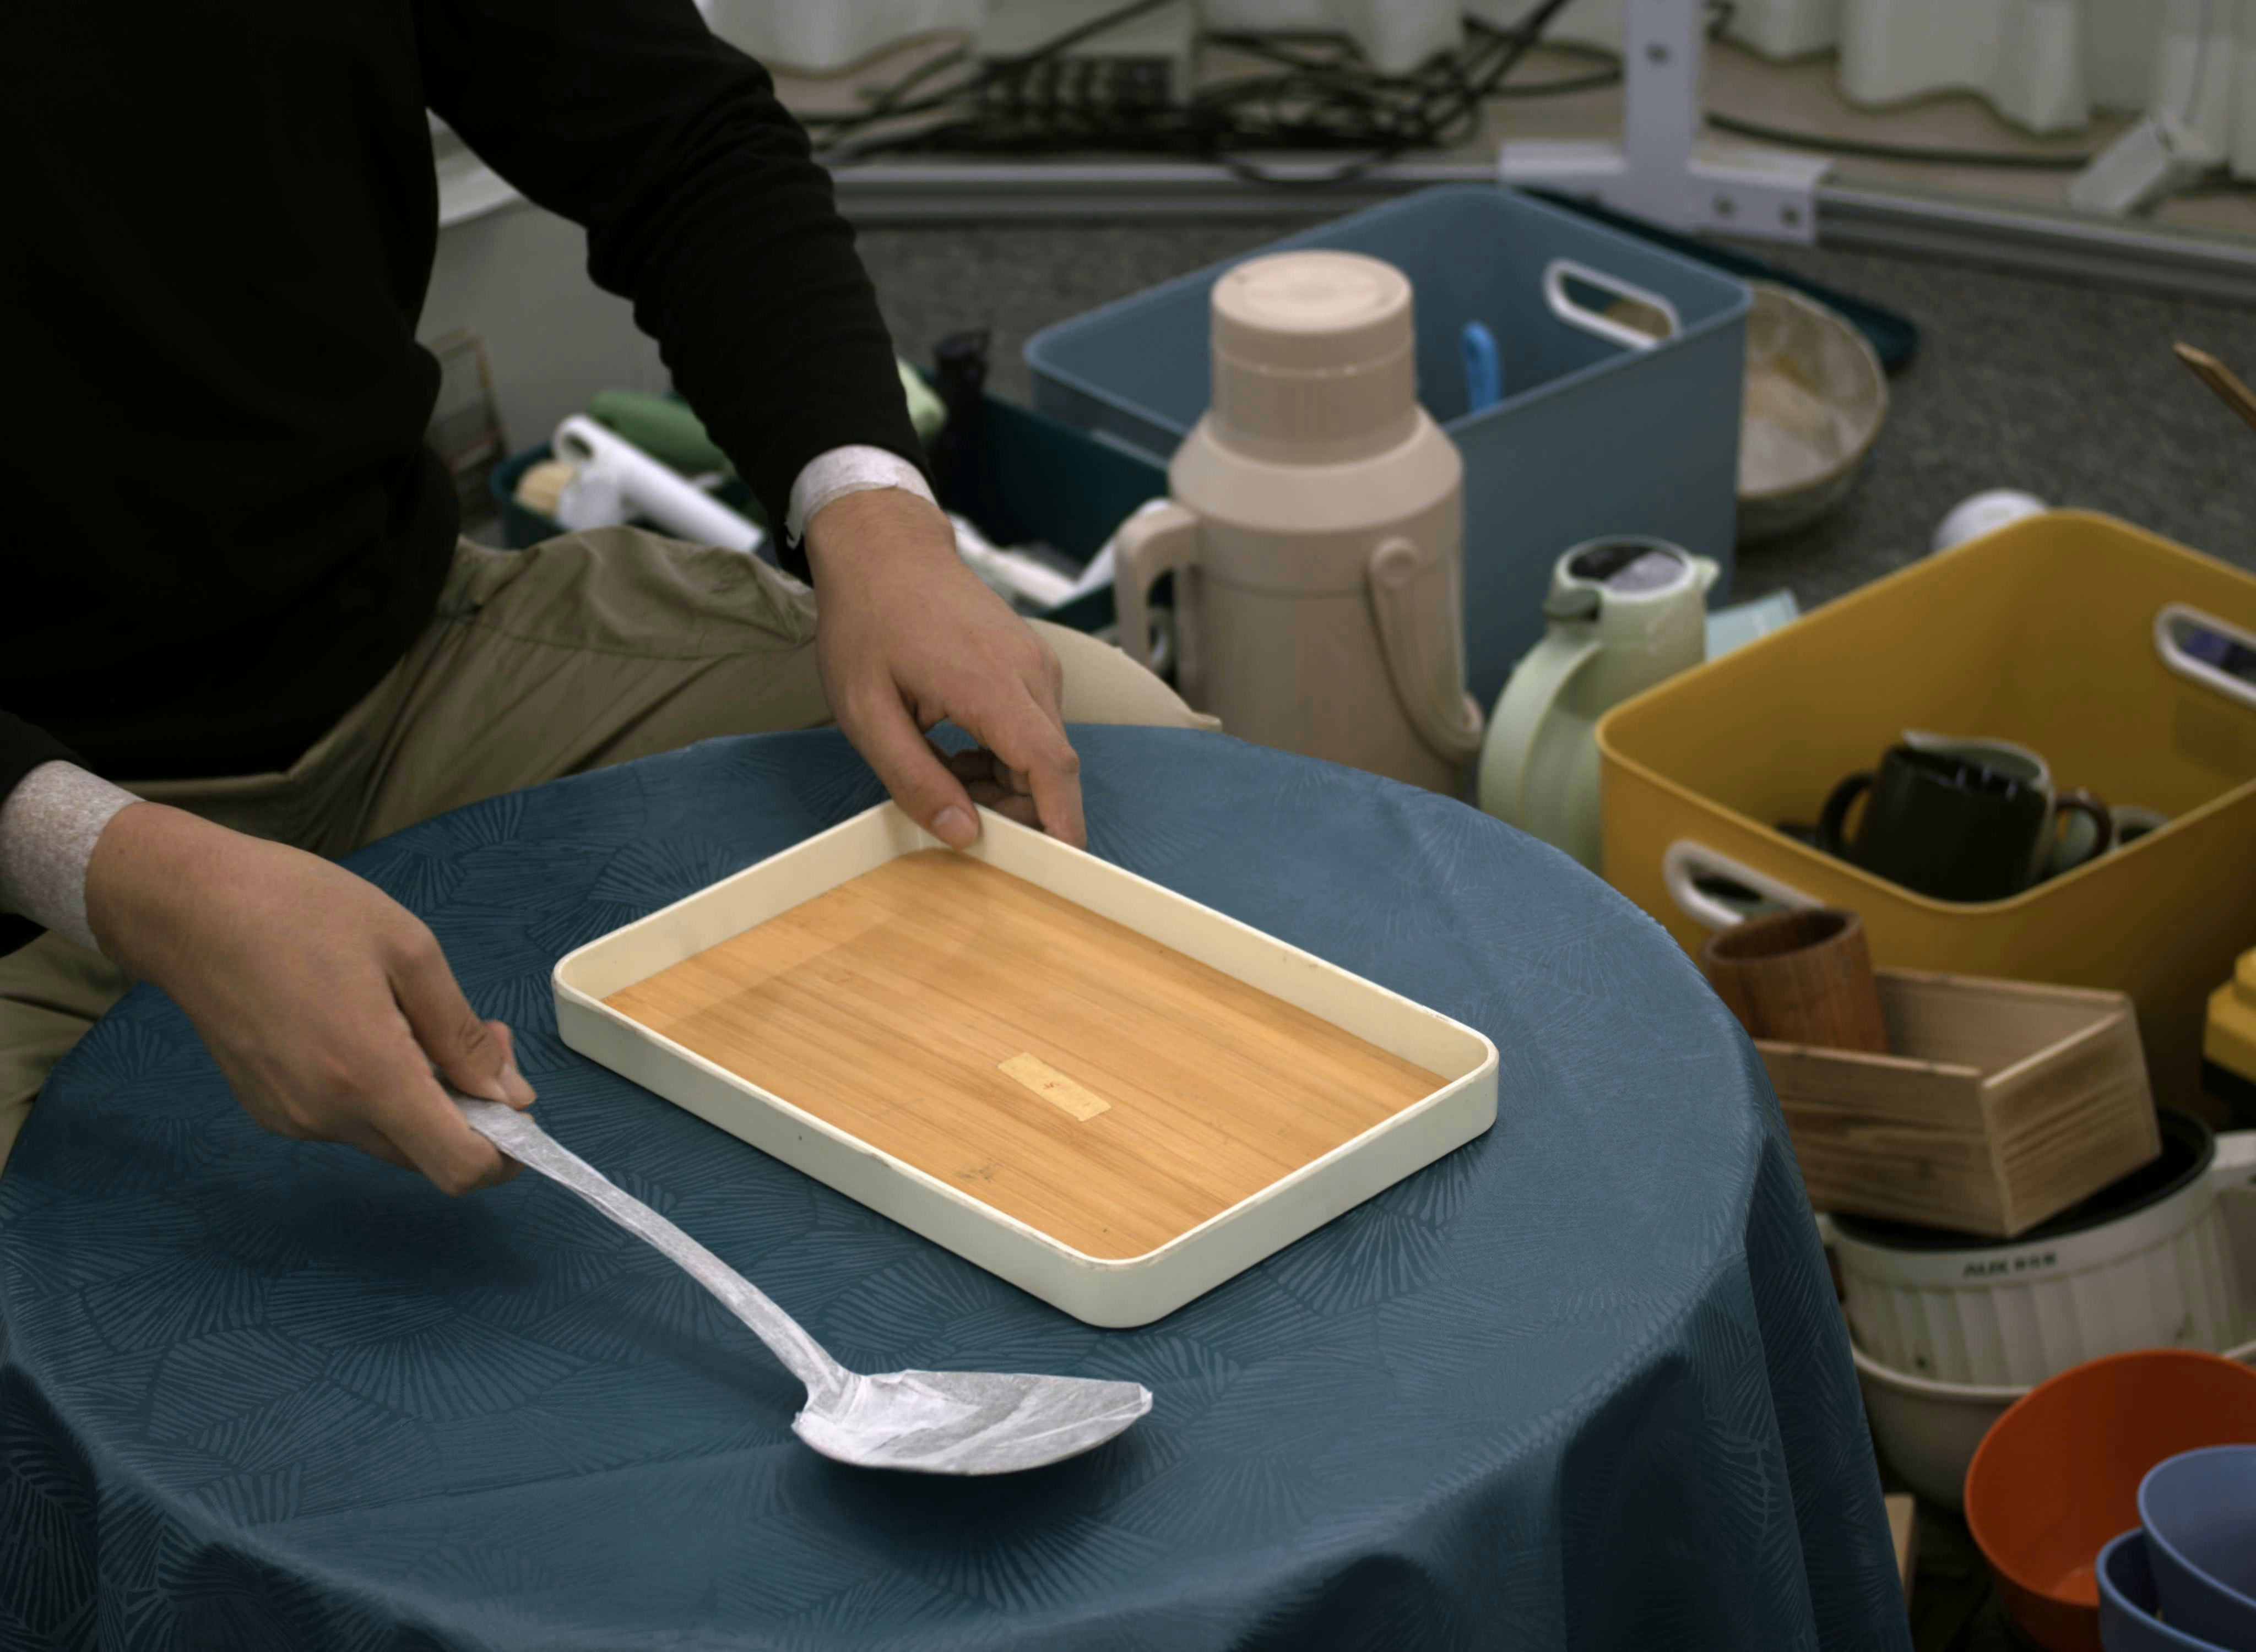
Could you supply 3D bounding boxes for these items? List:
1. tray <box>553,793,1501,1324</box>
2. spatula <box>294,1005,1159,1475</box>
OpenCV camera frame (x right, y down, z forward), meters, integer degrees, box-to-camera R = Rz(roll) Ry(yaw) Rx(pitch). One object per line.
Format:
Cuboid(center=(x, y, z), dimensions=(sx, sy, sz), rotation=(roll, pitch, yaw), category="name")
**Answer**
Cuboid(center=(-0.038, 0.074, 1.927), dimensions=(0.194, 0.027, 0.300), rotation=(-26, 35, -37), category="tray")
Cuboid(center=(-0.148, 0.125, 1.785), dimensions=(0.365, 0.044, 0.099), rotation=(31, 30, 32), category="spatula")
